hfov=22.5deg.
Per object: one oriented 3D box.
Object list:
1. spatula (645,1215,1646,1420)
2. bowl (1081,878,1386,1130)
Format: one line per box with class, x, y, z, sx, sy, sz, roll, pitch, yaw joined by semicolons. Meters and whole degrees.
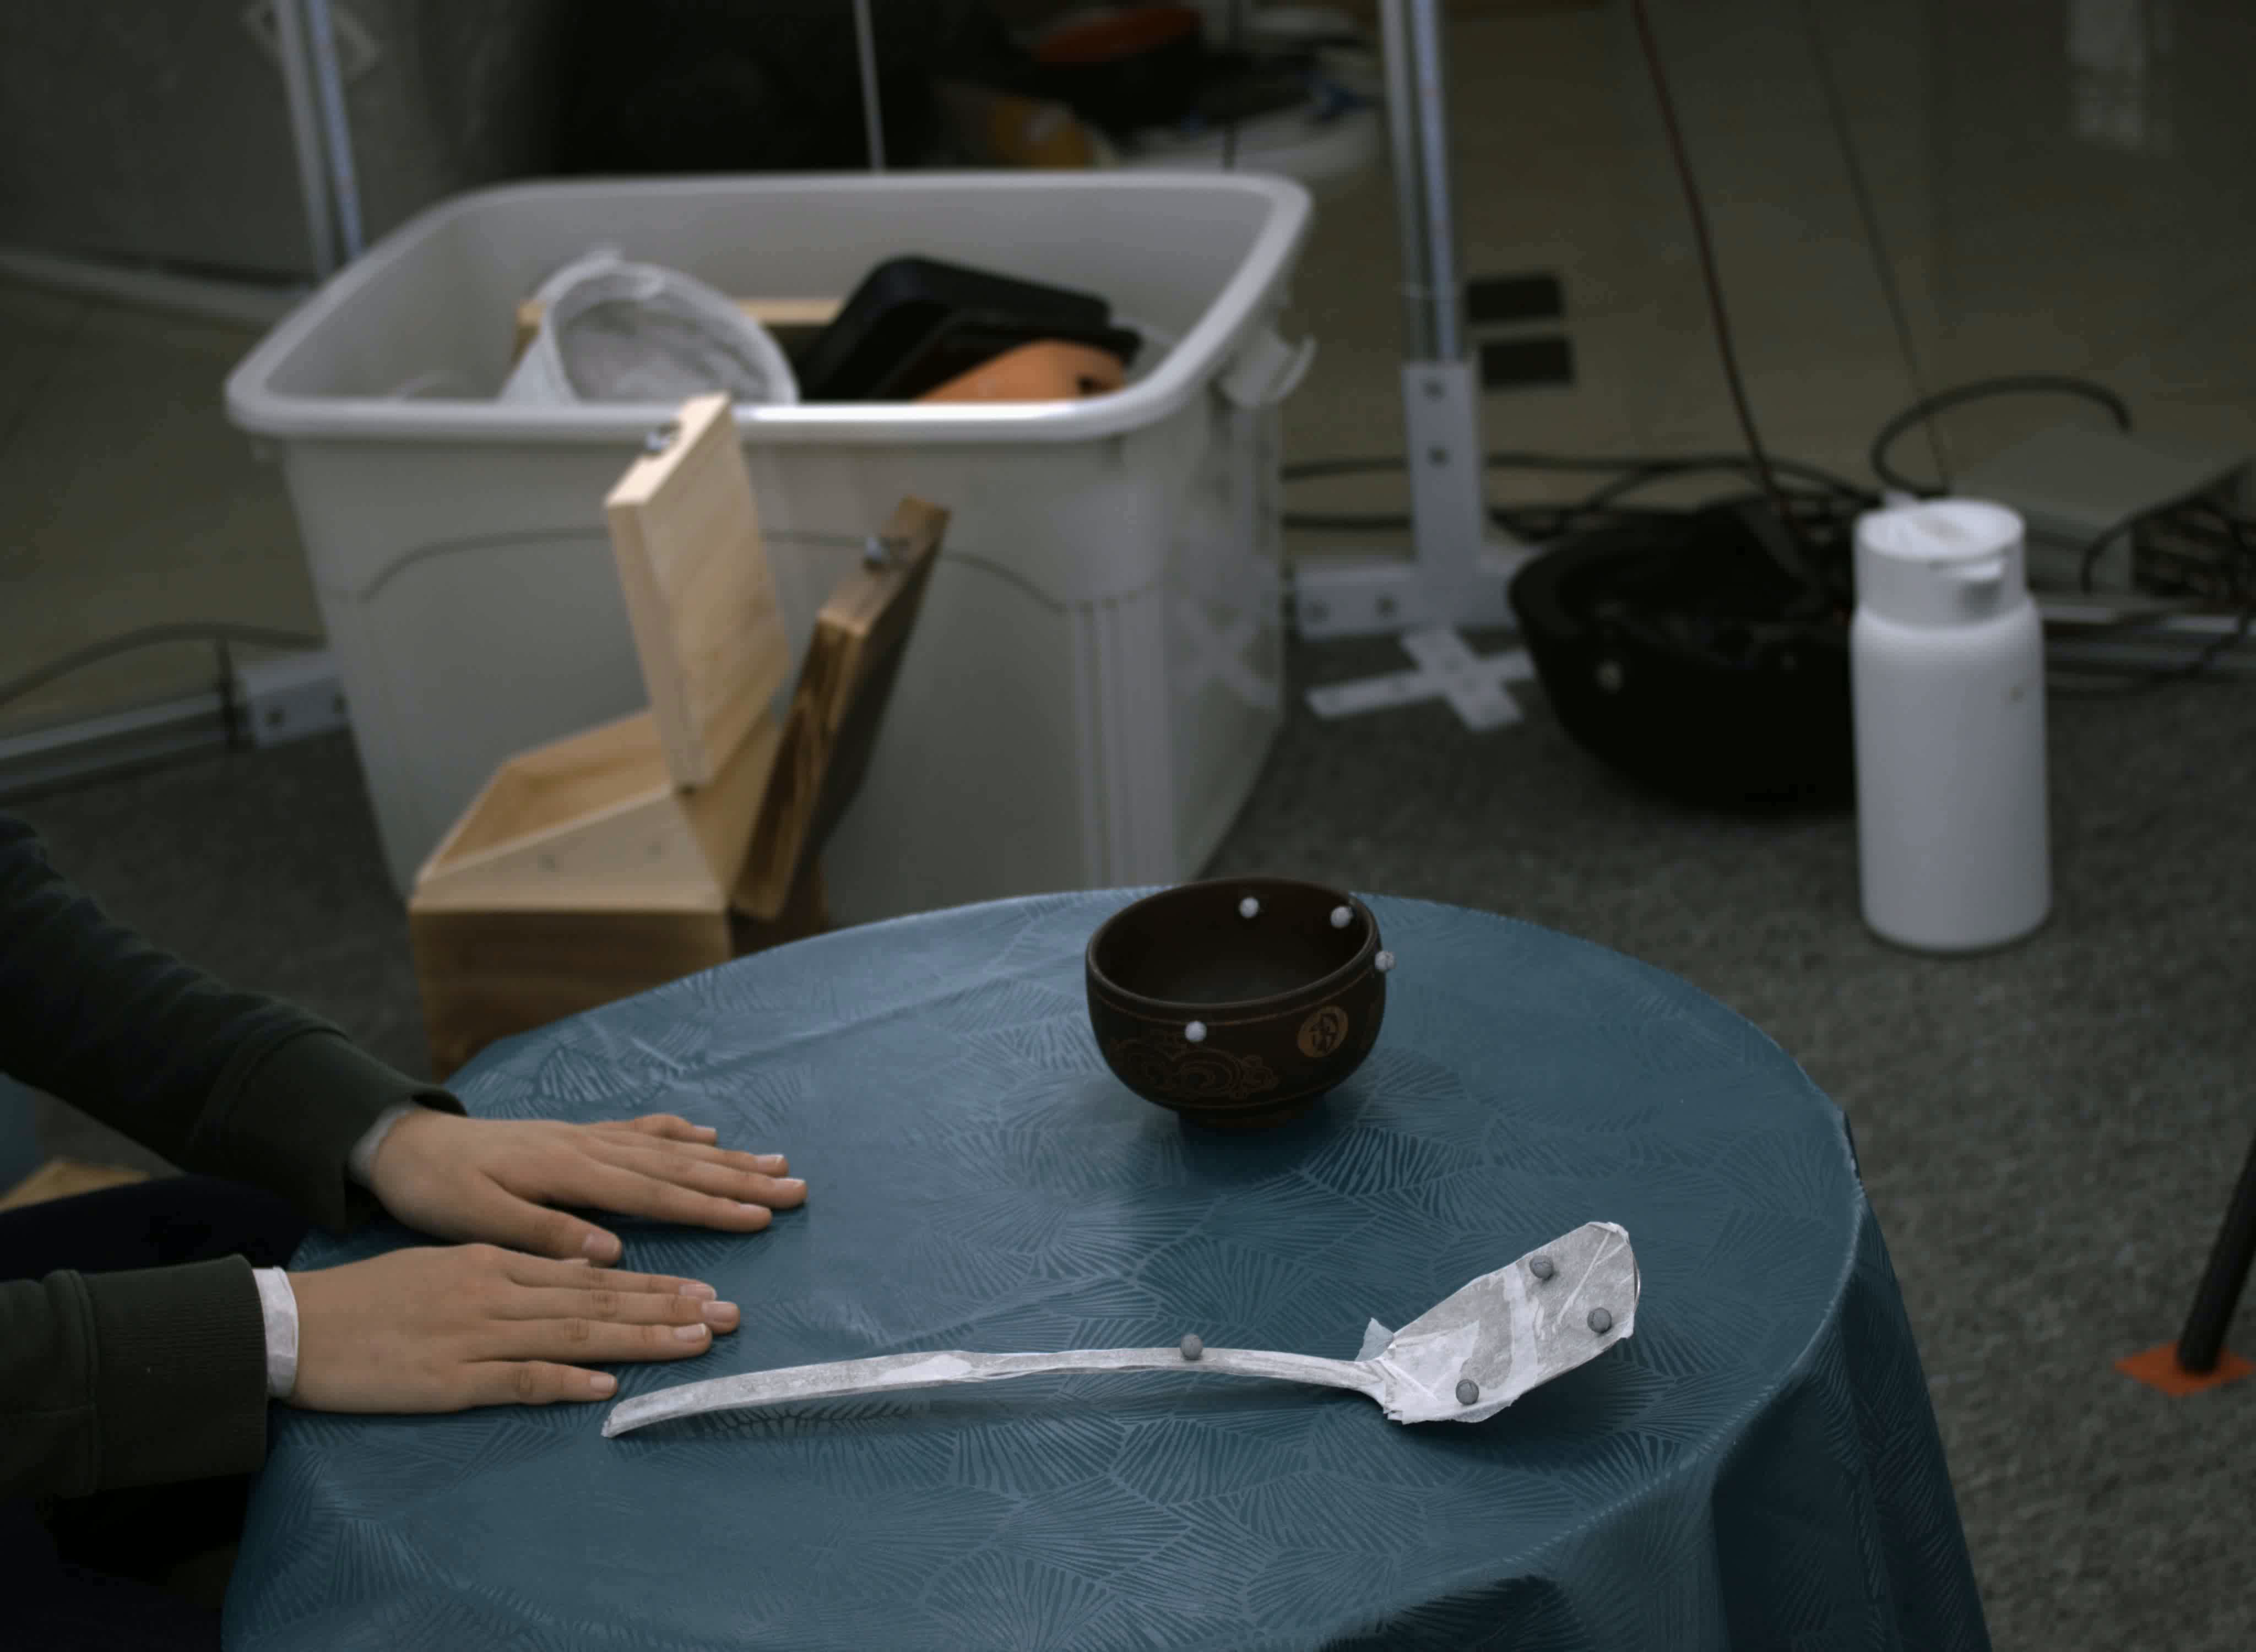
spatula;0.002;0.184;2.009;0.364;0.045;0.097;-3;27;7
bowl;0.043;0.075;2.195;0.118;0.071;0.116;-7;24;3
